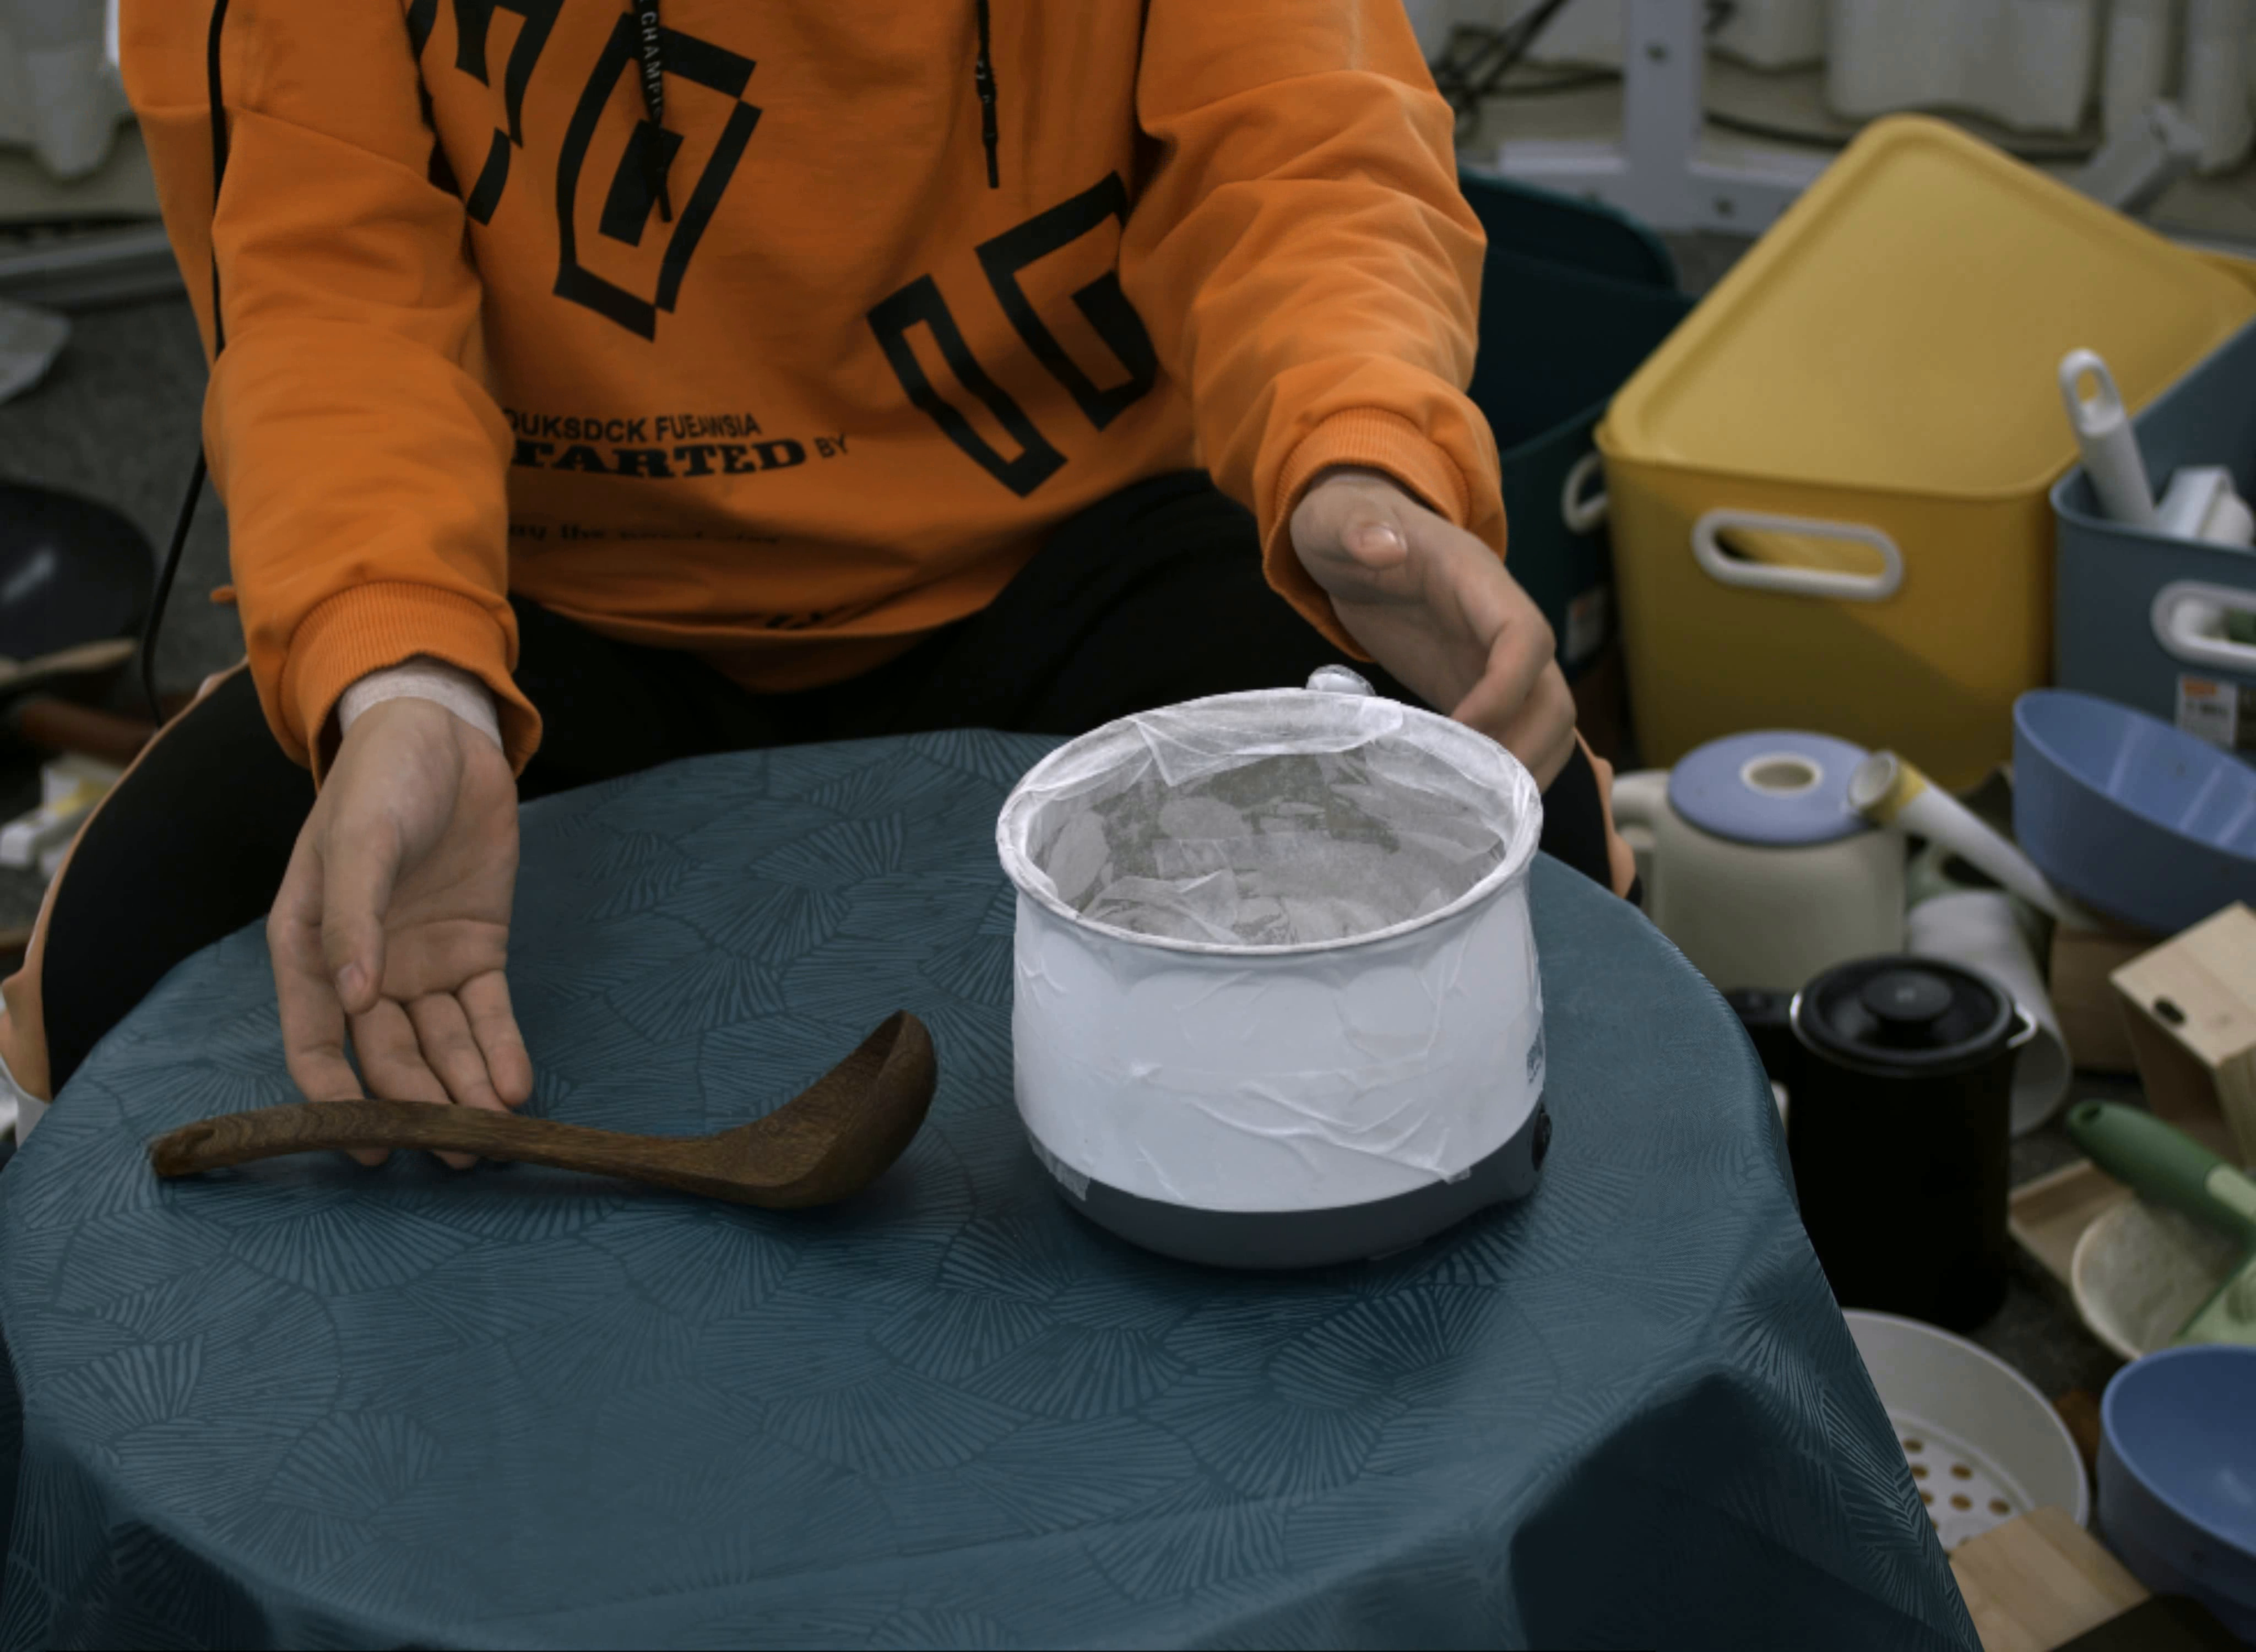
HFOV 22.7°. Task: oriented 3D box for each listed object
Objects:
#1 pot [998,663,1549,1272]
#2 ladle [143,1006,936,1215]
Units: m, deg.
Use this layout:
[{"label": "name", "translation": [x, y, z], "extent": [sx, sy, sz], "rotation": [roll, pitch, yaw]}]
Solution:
[{"label": "pot", "translation": [0.055, 0.039, 1.869], "extent": [0.177, 0.135, 0.238], "rotation": [4, 28, 12]}, {"label": "ladle", "translation": [-0.198, 0.090, 1.868], "extent": [0.272, 0.070, 0.077], "rotation": [3, 24, 9]}]
